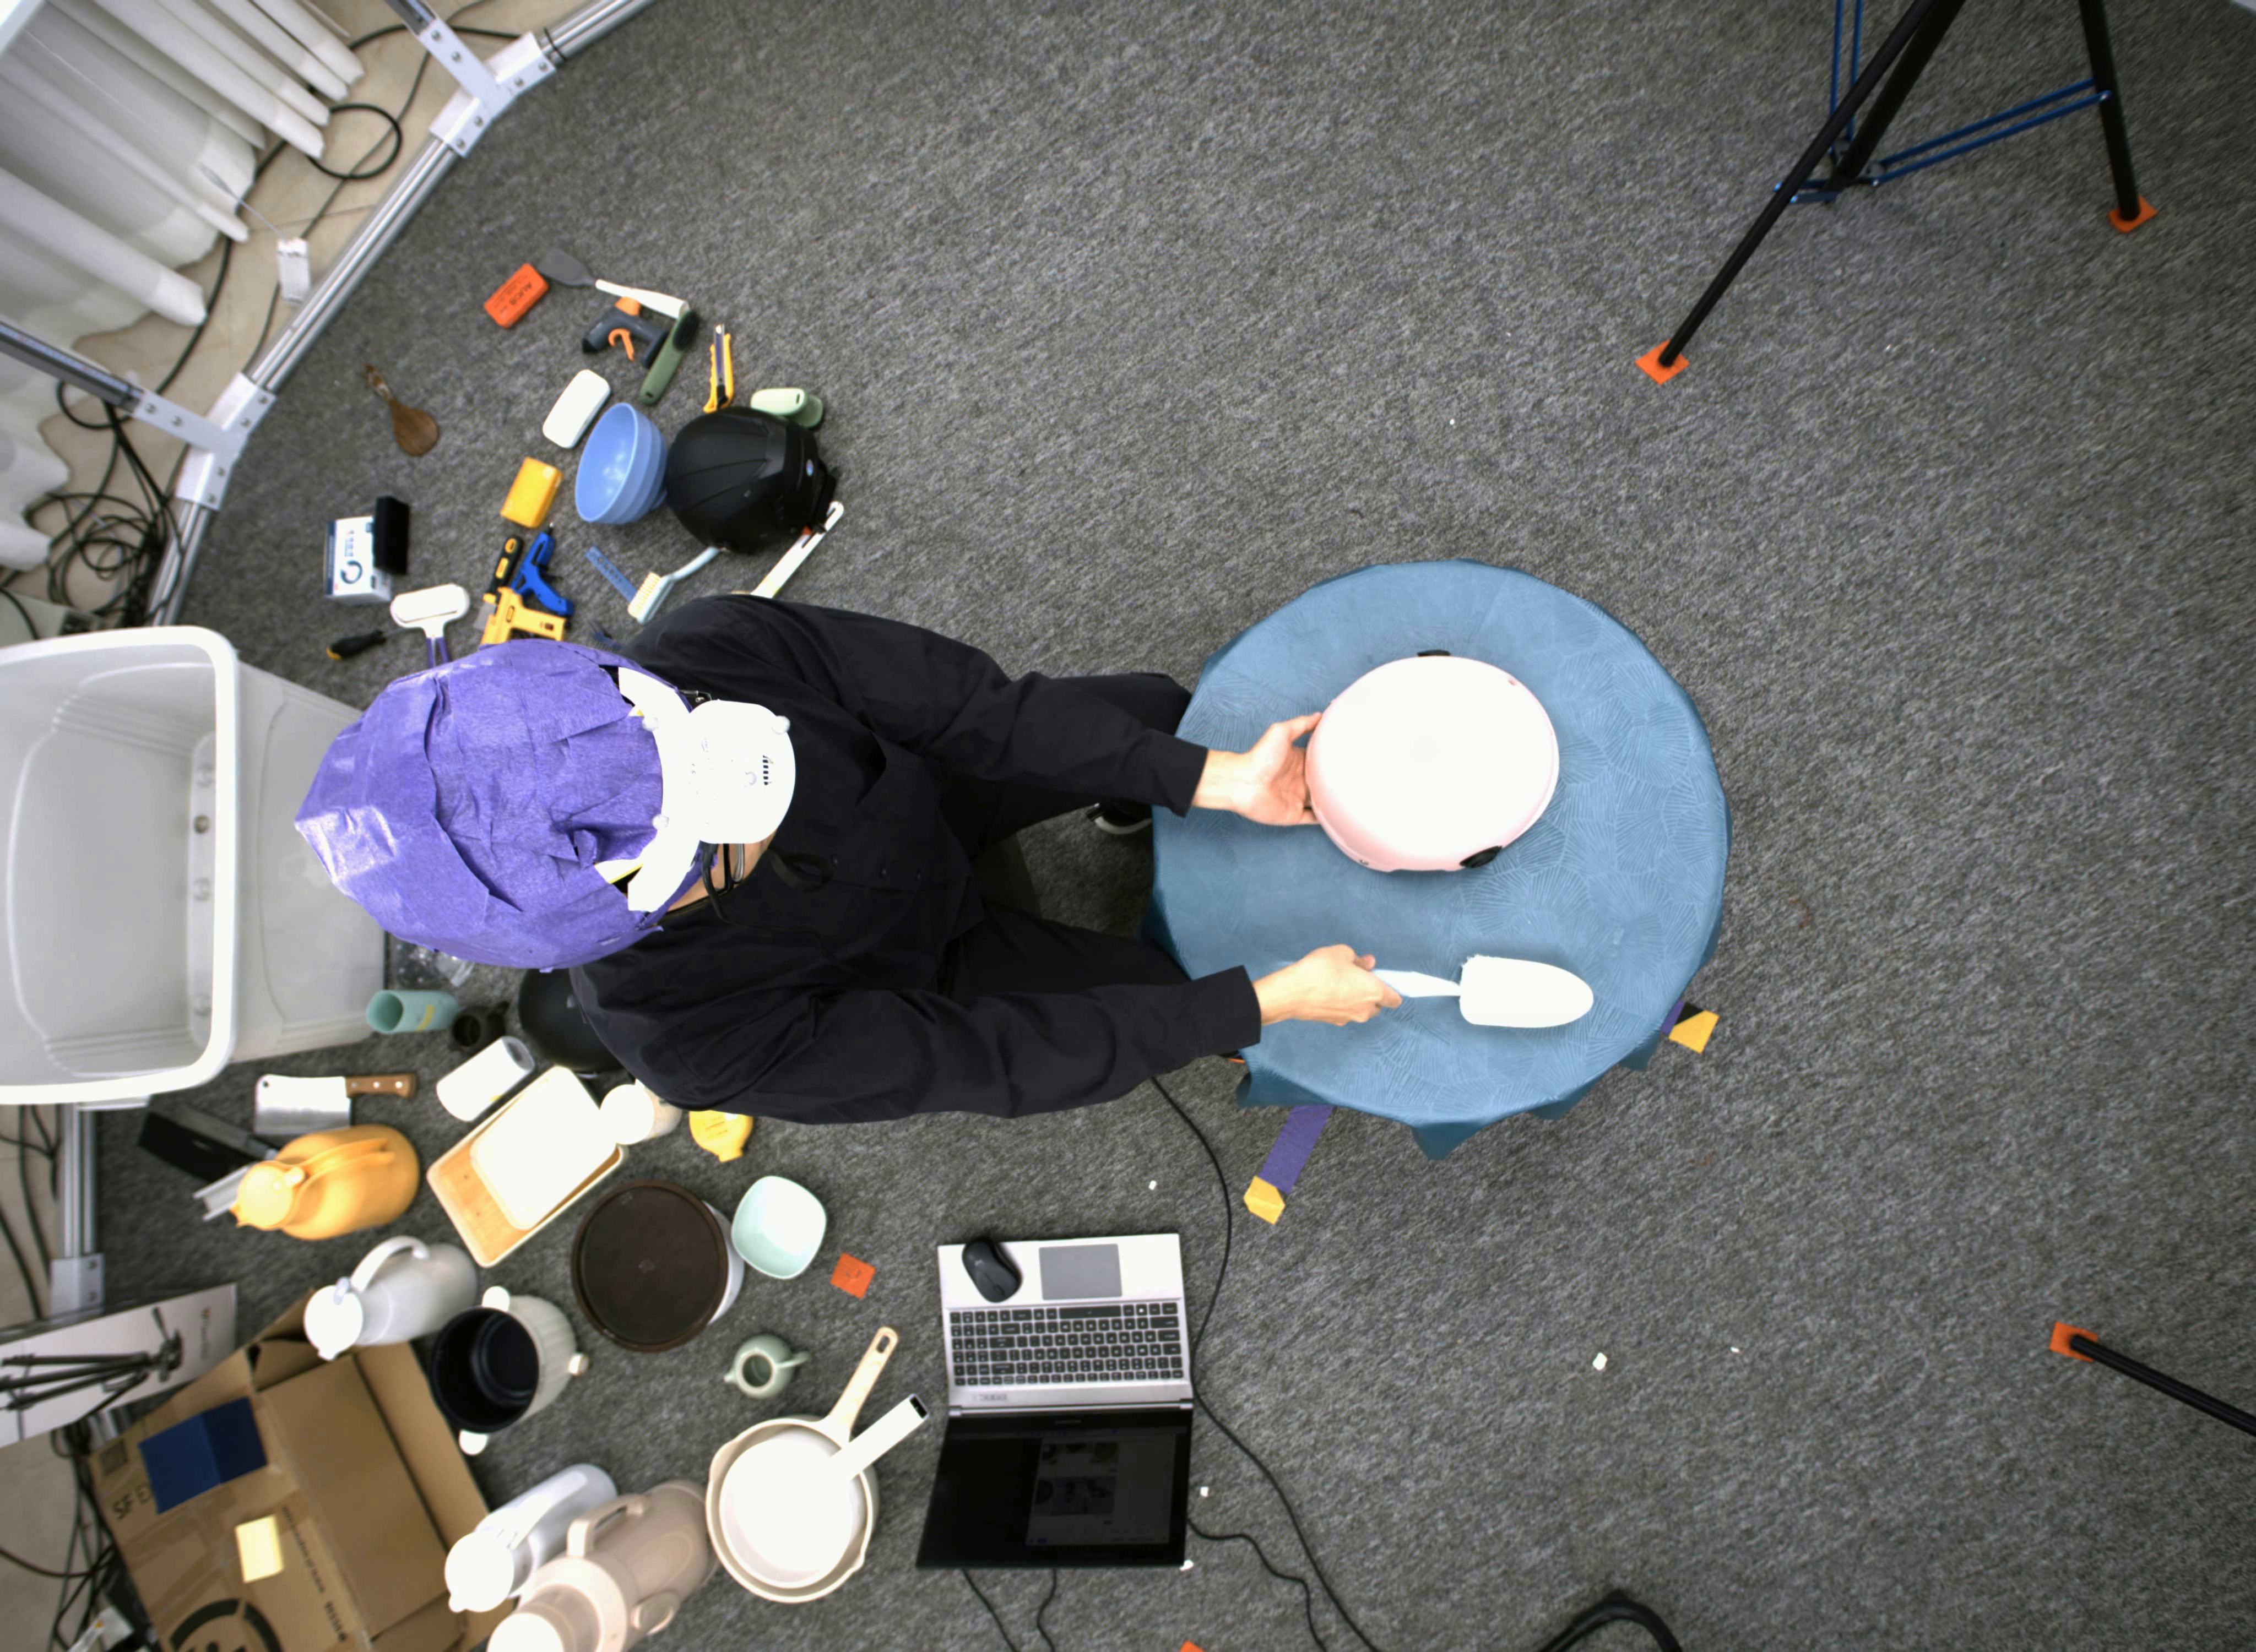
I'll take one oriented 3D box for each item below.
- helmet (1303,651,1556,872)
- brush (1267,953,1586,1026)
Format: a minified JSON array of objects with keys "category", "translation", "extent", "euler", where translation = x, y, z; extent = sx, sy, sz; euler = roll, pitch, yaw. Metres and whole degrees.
[{"category":"helmet","translation":[0.311,-0.073,1.383],"extent":[0.267,0.159,0.232],"euler":[-12,83,4]},{"category":"brush","translation":[0.302,0.154,1.409],"extent":[0.326,0.087,0.081],"euler":[5,50,2]}]
